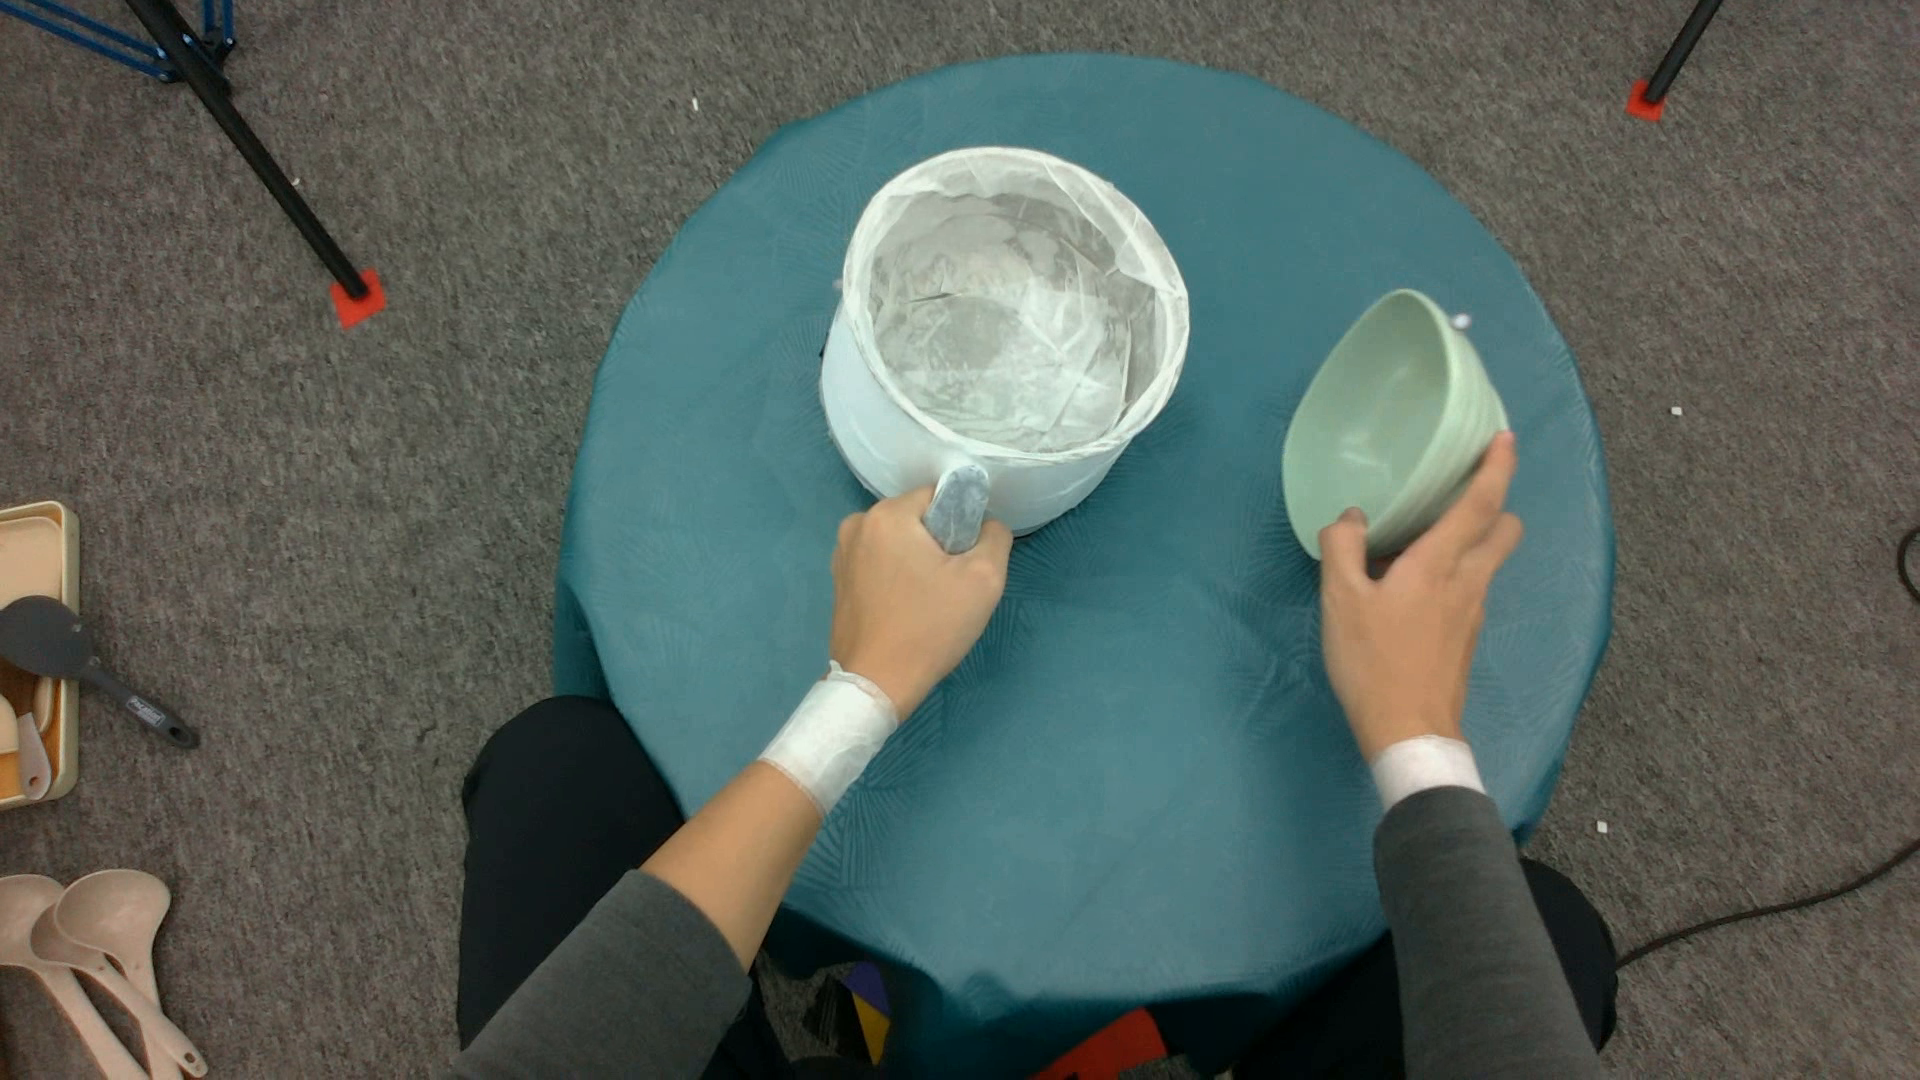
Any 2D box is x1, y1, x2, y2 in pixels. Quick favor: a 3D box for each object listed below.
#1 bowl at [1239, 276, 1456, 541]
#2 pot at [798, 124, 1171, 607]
[{"bbox_3d":[0.214,-0.062,0.741,0.058,0.151,0.152,22,69,-14],"label":"bowl"},{"bbox_3d":[0.001,-0.084,0.727,0.179,0.136,0.234,16,68,-7],"label":"pot"}]
